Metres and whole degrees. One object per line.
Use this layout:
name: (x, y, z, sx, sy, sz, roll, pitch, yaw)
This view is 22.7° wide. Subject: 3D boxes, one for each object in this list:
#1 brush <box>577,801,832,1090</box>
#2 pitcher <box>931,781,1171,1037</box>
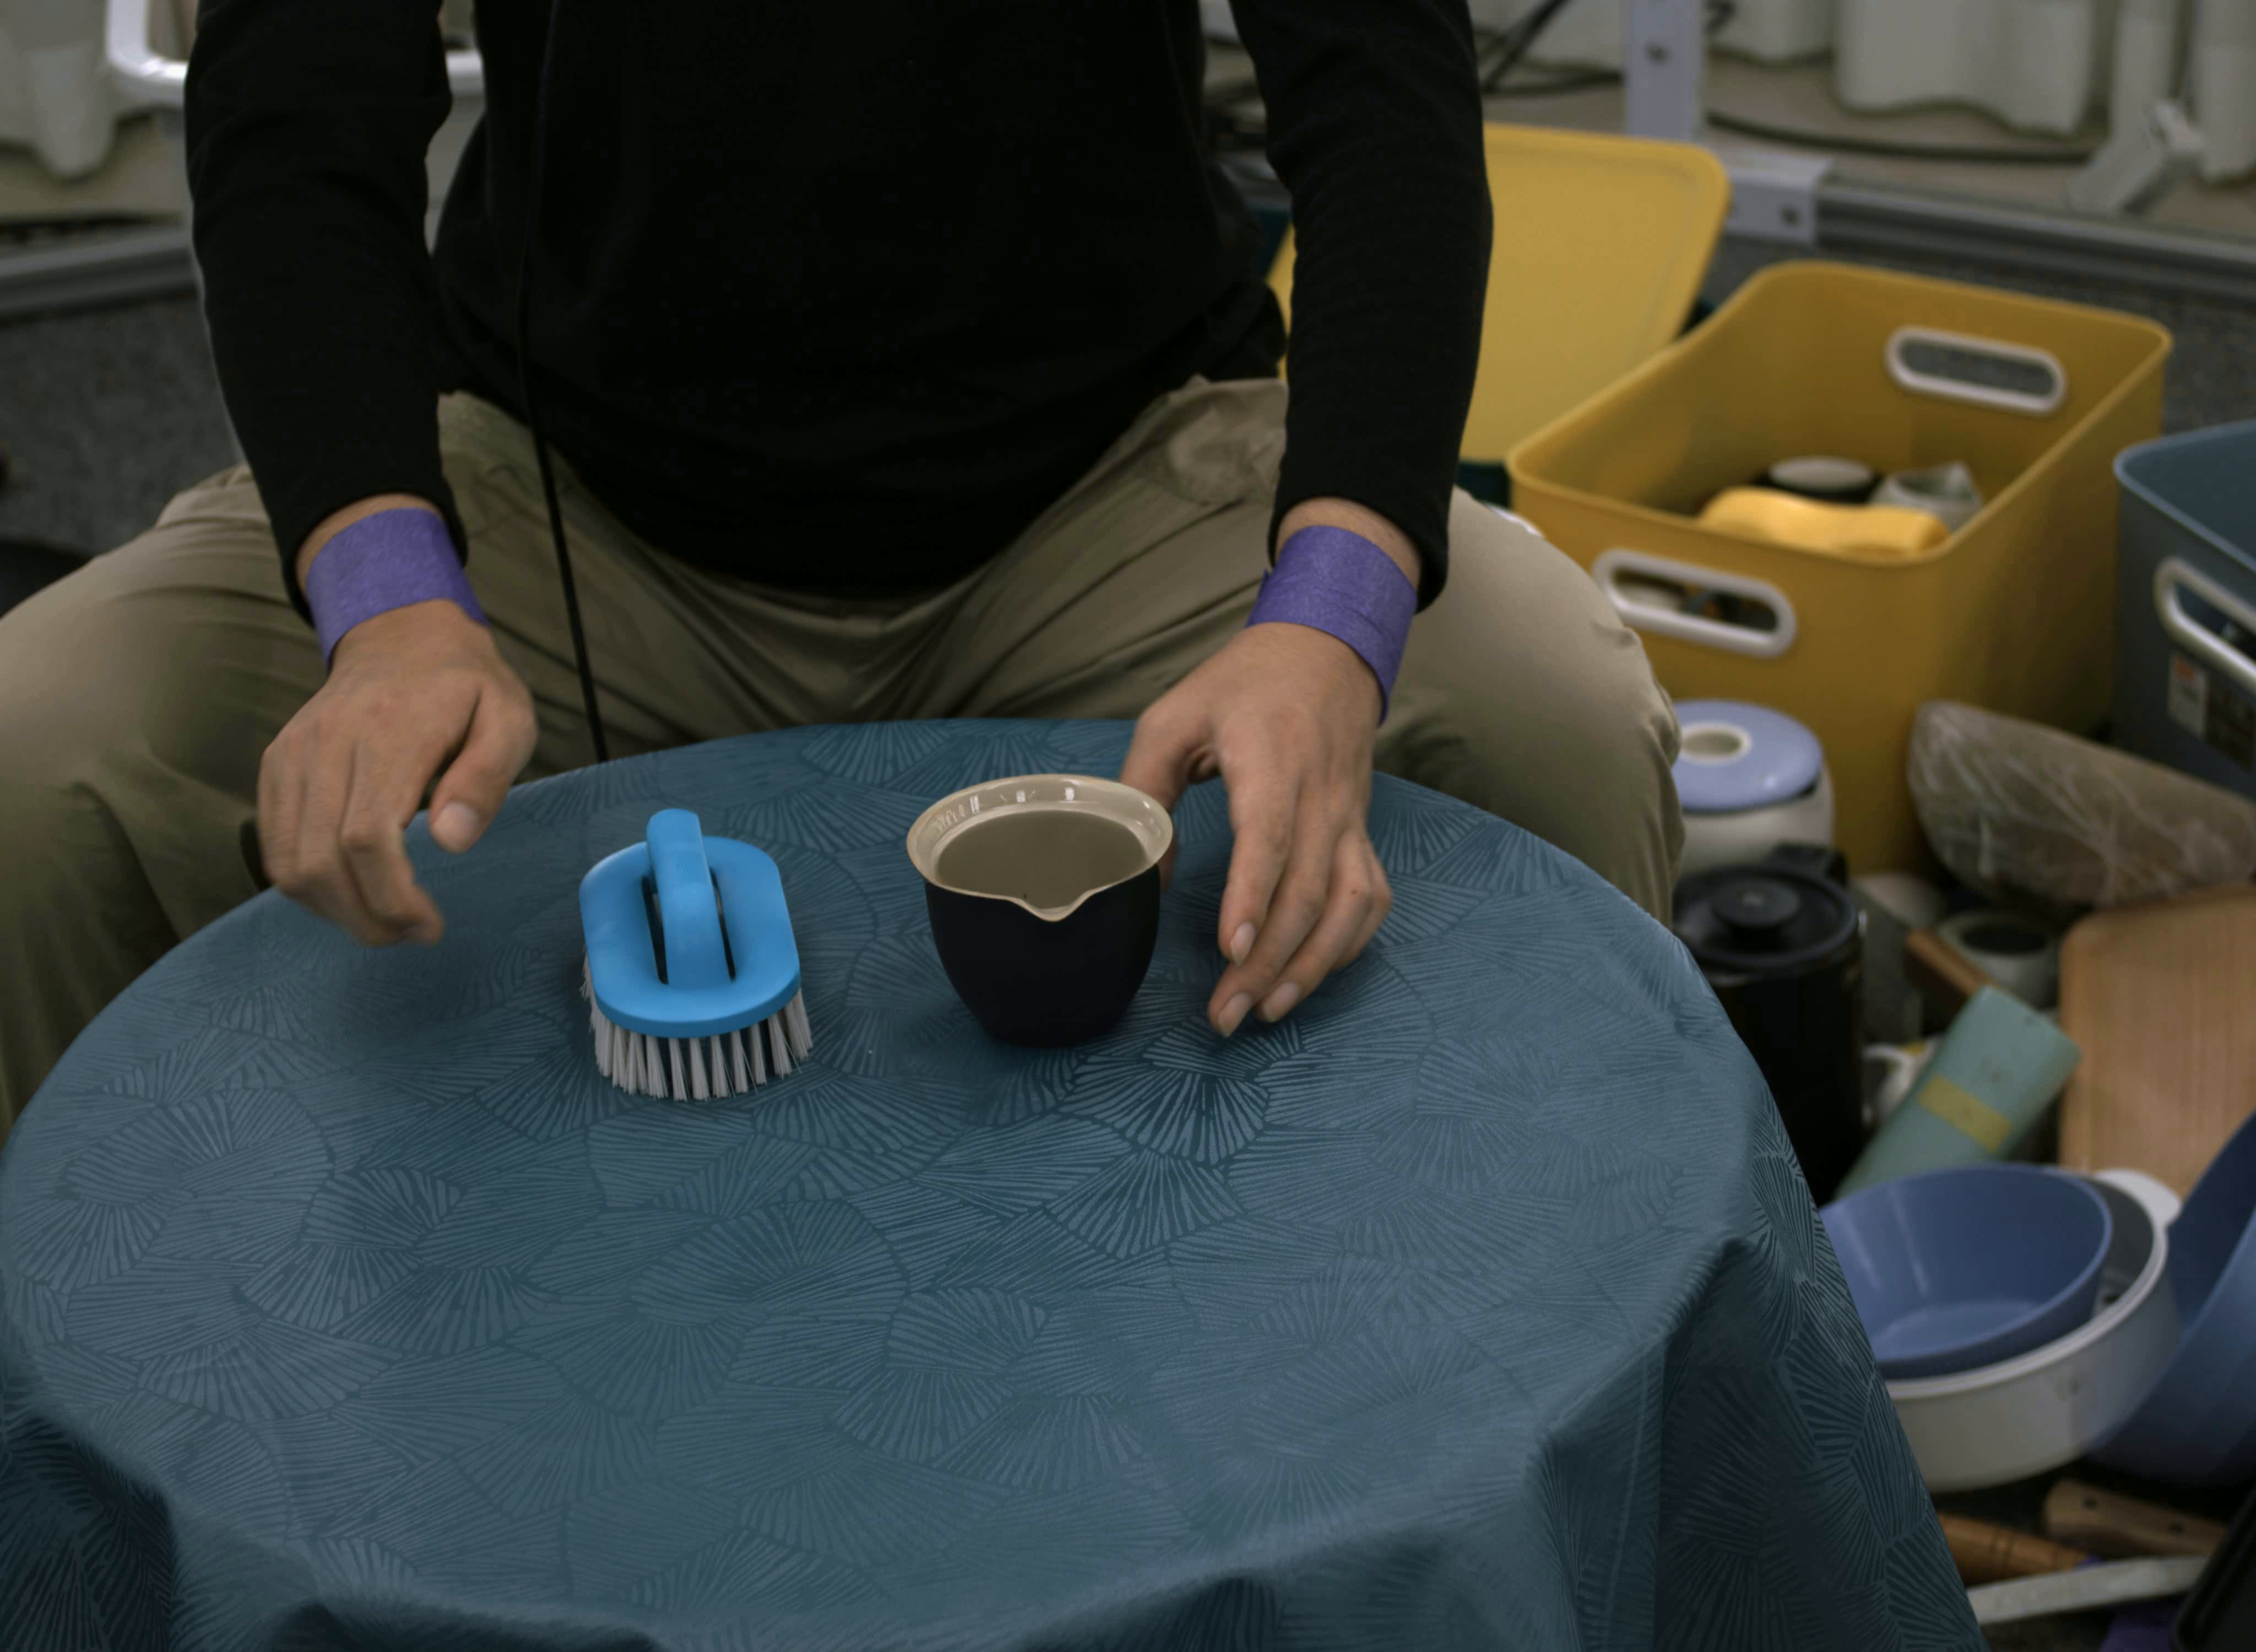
brush: (-0.153, 0.034, 1.976, 0.084, 0.063, 0.143, -10, 27, -4)
pitcher: (-0.026, 0.033, 1.954, 0.083, 0.070, 0.097, -2, 29, 1)
